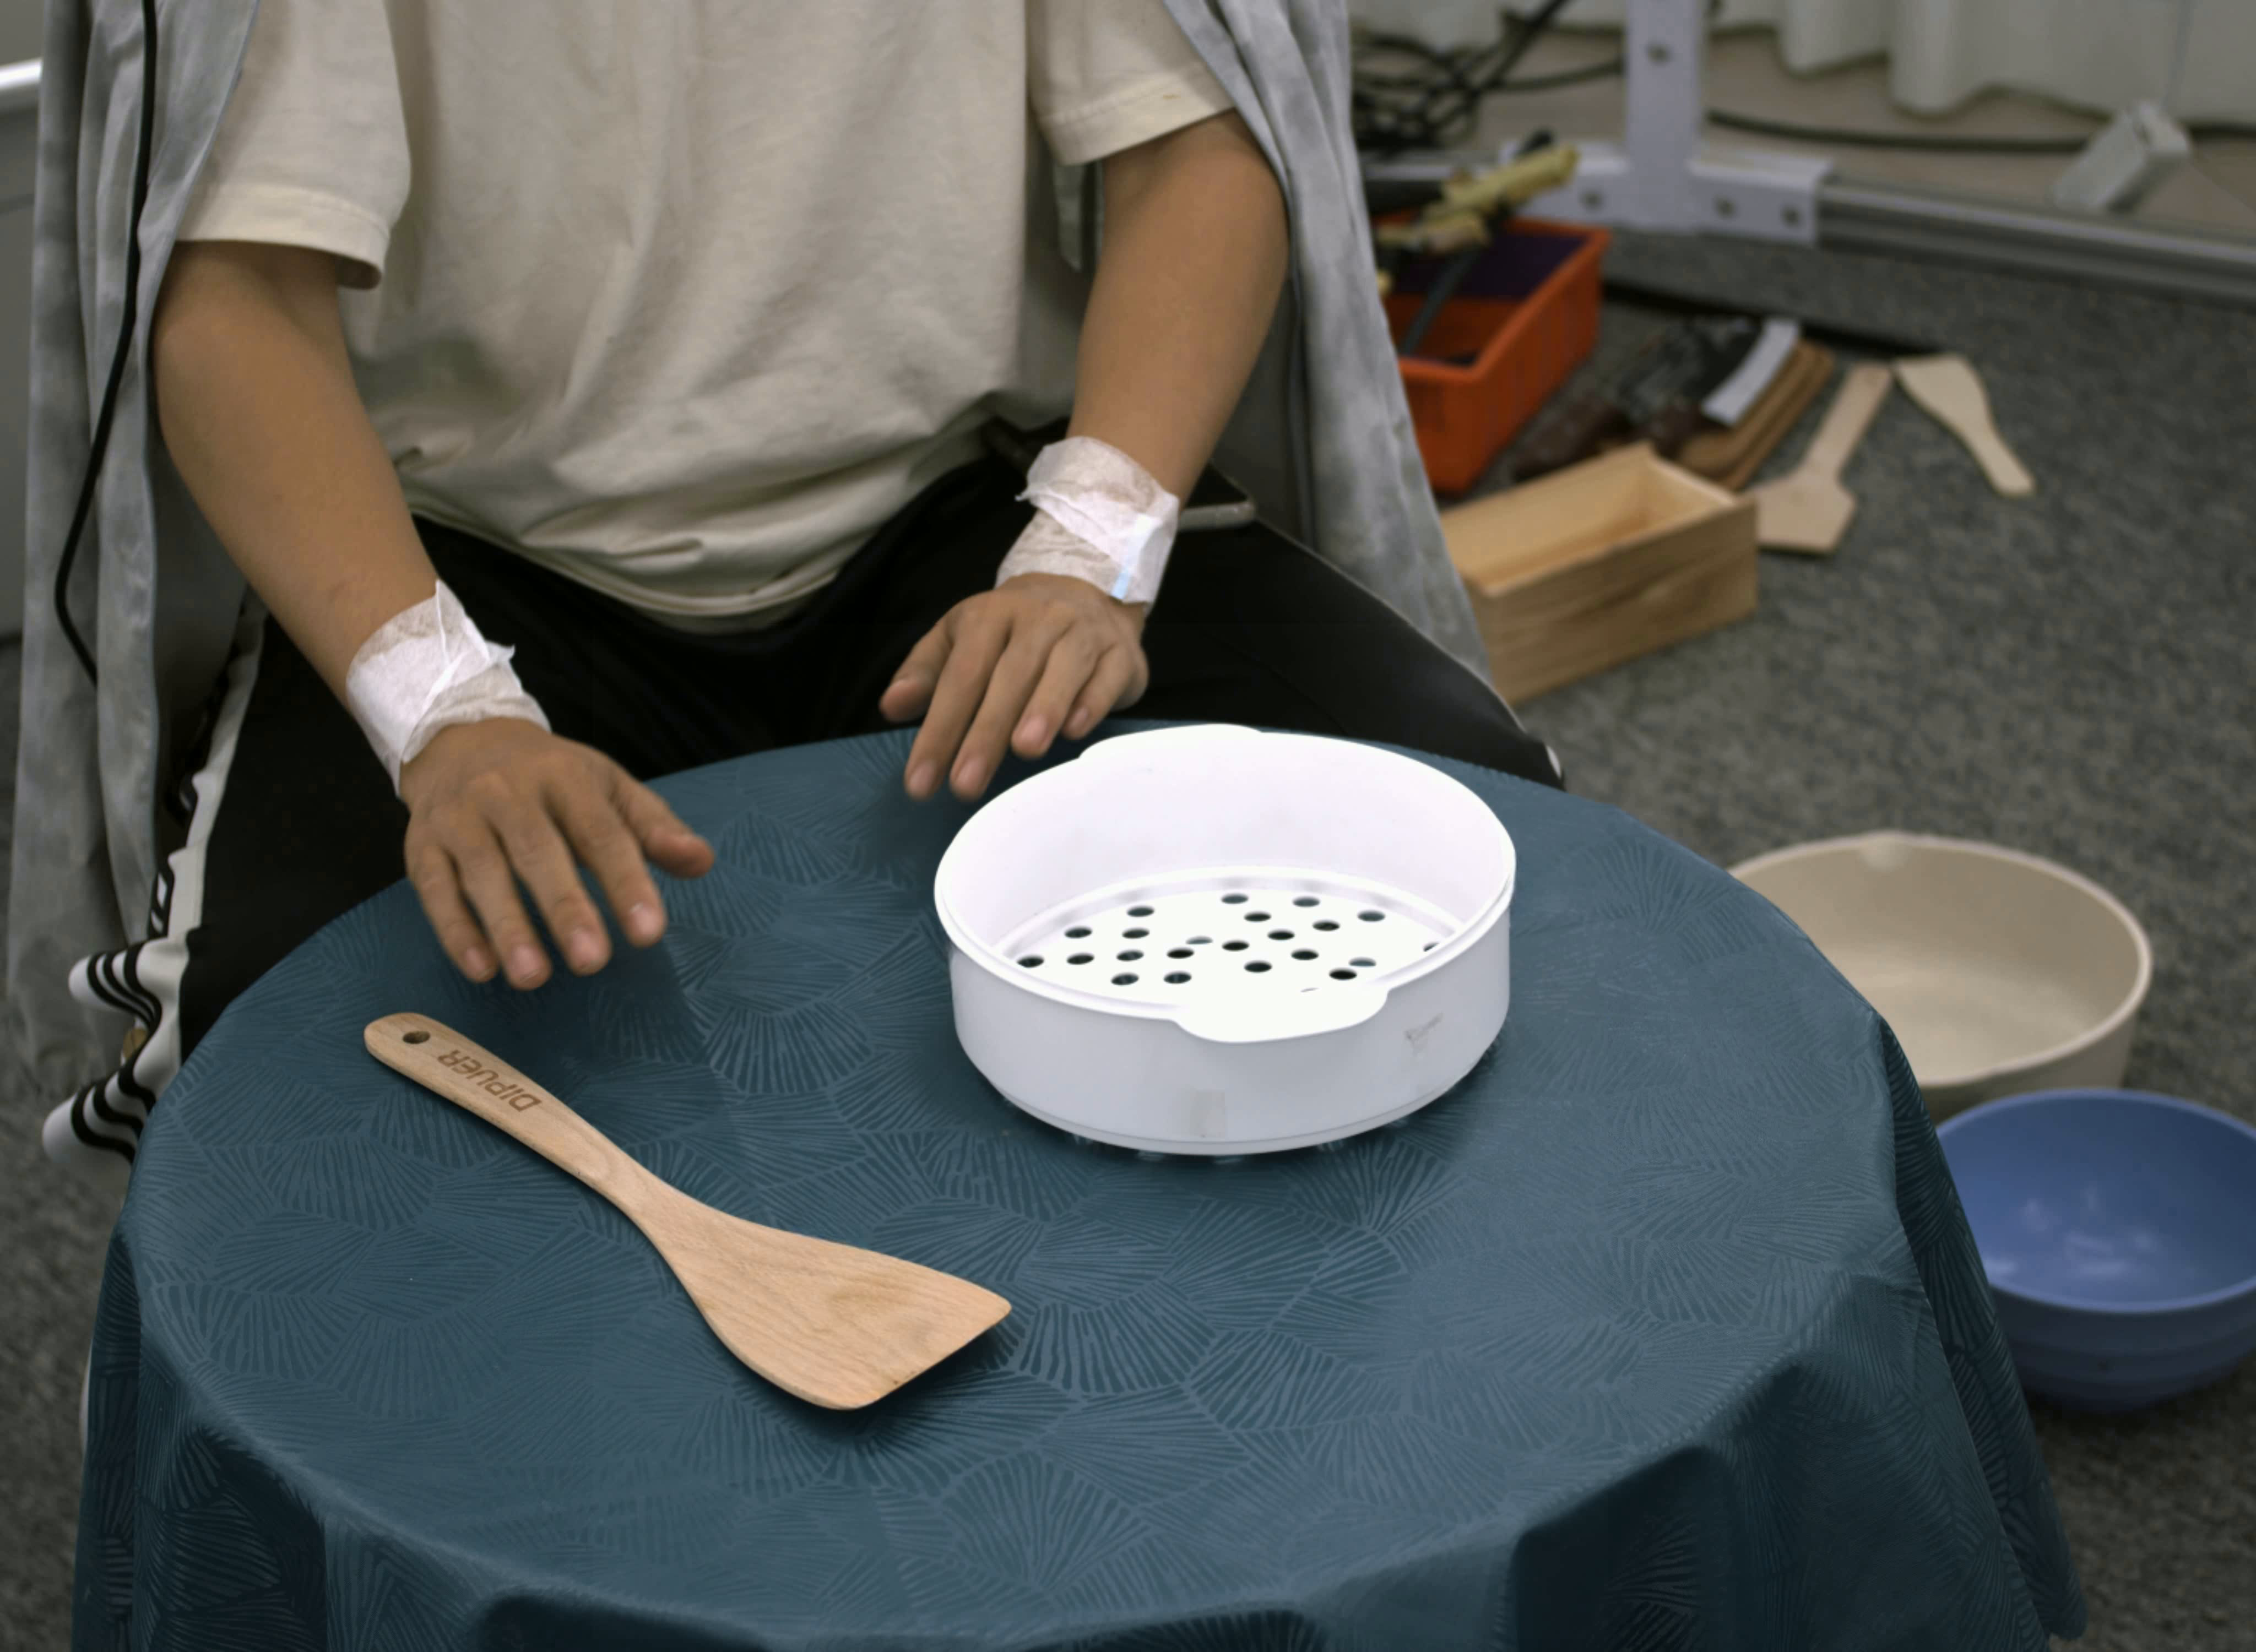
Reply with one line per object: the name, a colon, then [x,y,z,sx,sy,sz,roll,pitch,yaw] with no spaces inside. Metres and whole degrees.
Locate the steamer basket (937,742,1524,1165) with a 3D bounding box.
steamer basket: [0.036,0.045,1.935,0.201,0.068,0.233,-6,26,-8]

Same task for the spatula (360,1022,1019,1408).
spatula: [-0.158,0.121,1.857,0.081,0.016,0.327,-22,33,-34]
